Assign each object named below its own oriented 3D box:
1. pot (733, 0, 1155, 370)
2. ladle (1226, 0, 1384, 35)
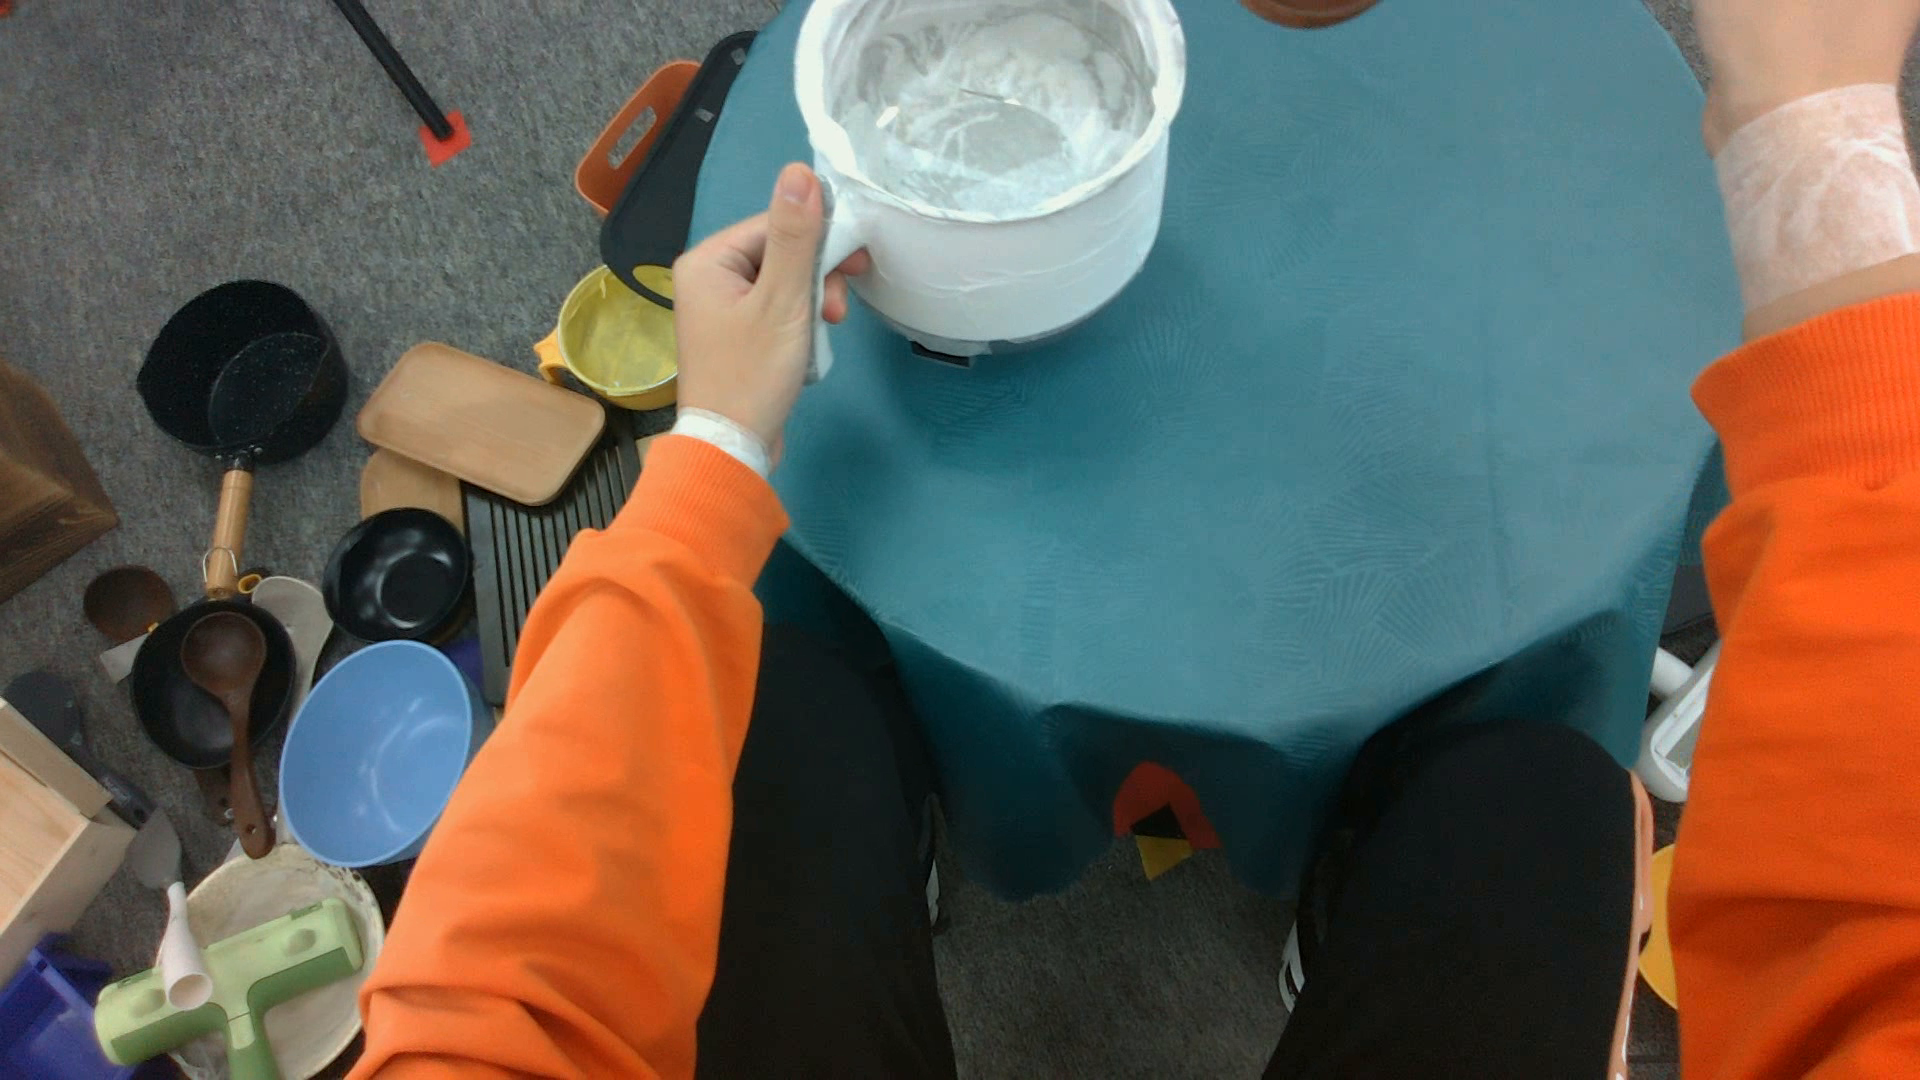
[{"bbox_3d":[-0.018,-0.183,0.675,0.179,0.136,0.234,41,73,17],"label":"pot"},{"bbox_3d":[0.202,-0.237,0.454,0.259,0.065,0.076,-8,85,41],"label":"ladle"}]
